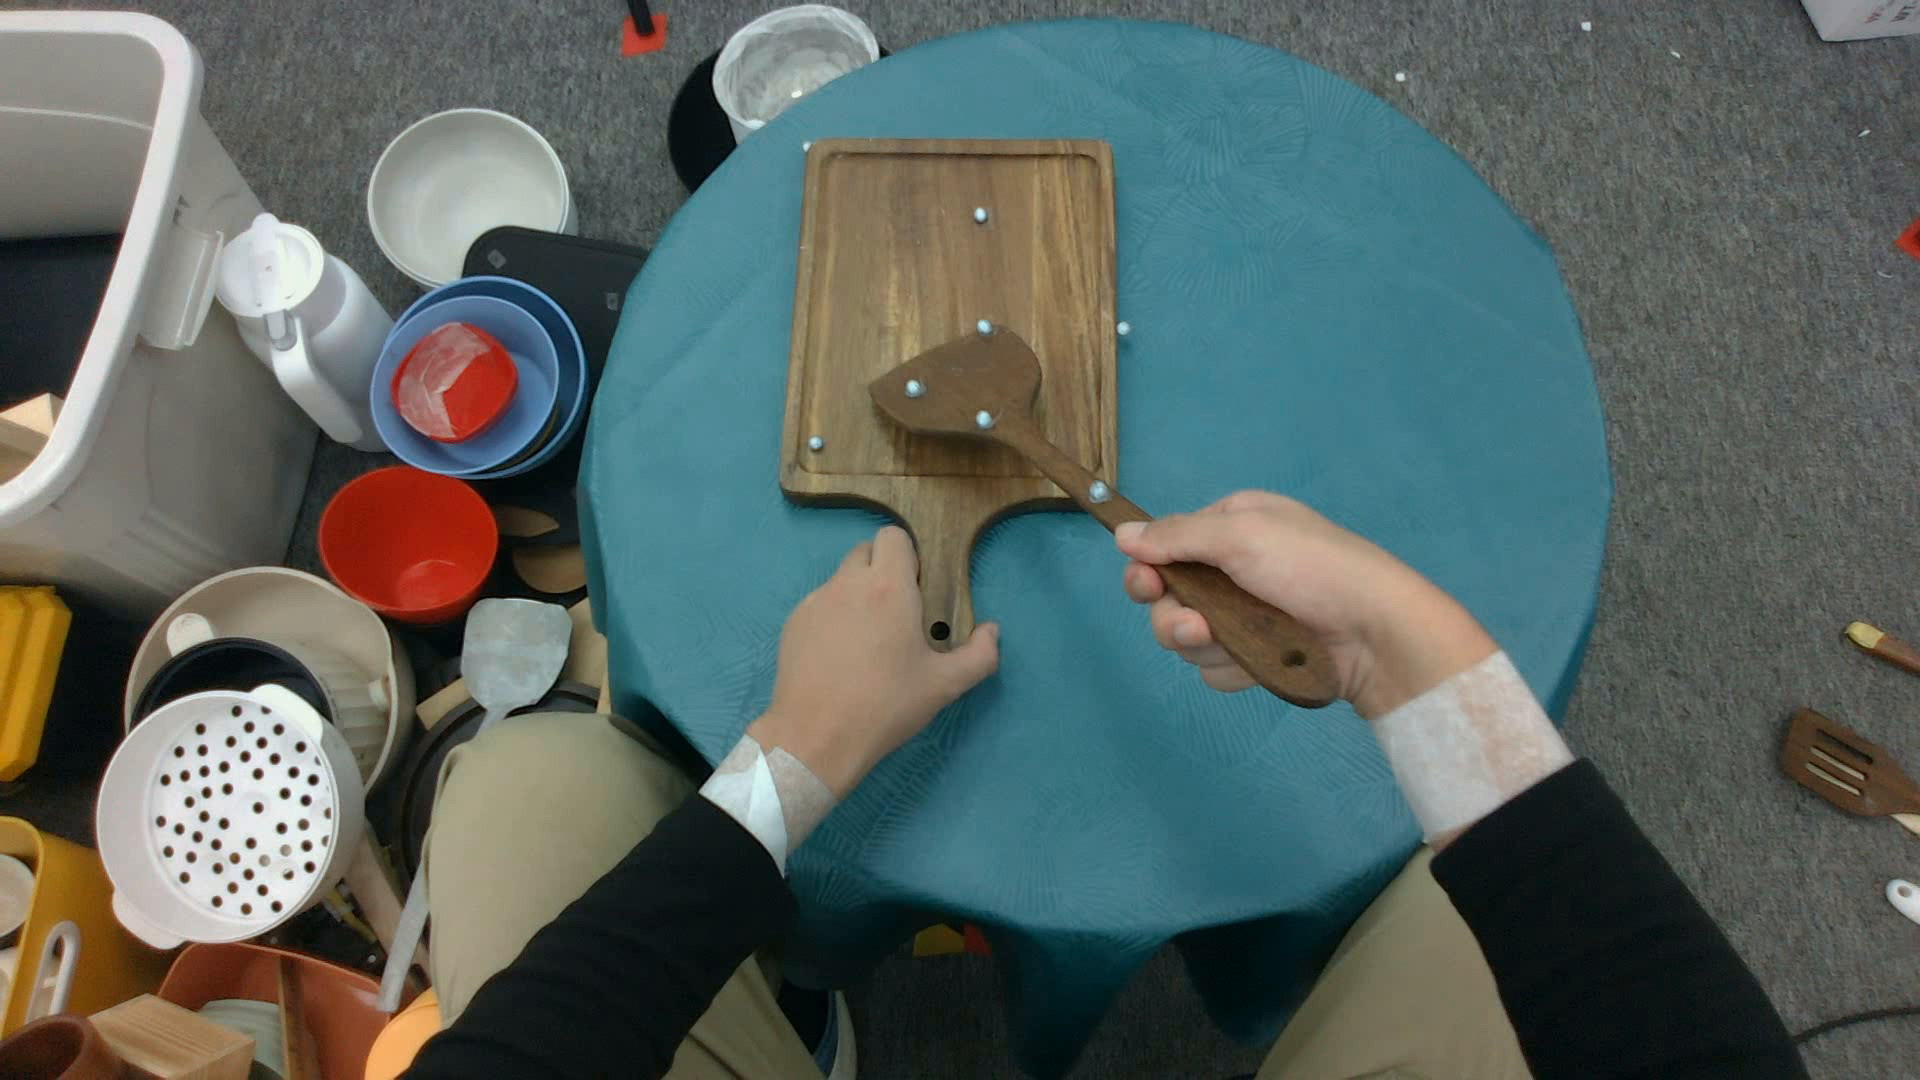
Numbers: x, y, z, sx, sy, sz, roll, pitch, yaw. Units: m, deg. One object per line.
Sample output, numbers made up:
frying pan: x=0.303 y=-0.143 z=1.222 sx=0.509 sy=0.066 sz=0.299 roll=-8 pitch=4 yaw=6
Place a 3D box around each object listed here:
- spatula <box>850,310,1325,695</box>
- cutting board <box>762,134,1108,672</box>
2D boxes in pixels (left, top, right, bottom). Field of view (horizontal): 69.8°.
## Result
spatula: x=0.052 y=-0.033 z=0.671 sx=0.096 sy=0.016 sz=0.386 roll=-27 pitch=36 yaw=-13
cutting board: x=-0.014 y=-0.093 z=0.816 sx=0.201 sy=0.023 sz=0.353 roll=0 pitch=67 yaw=2
